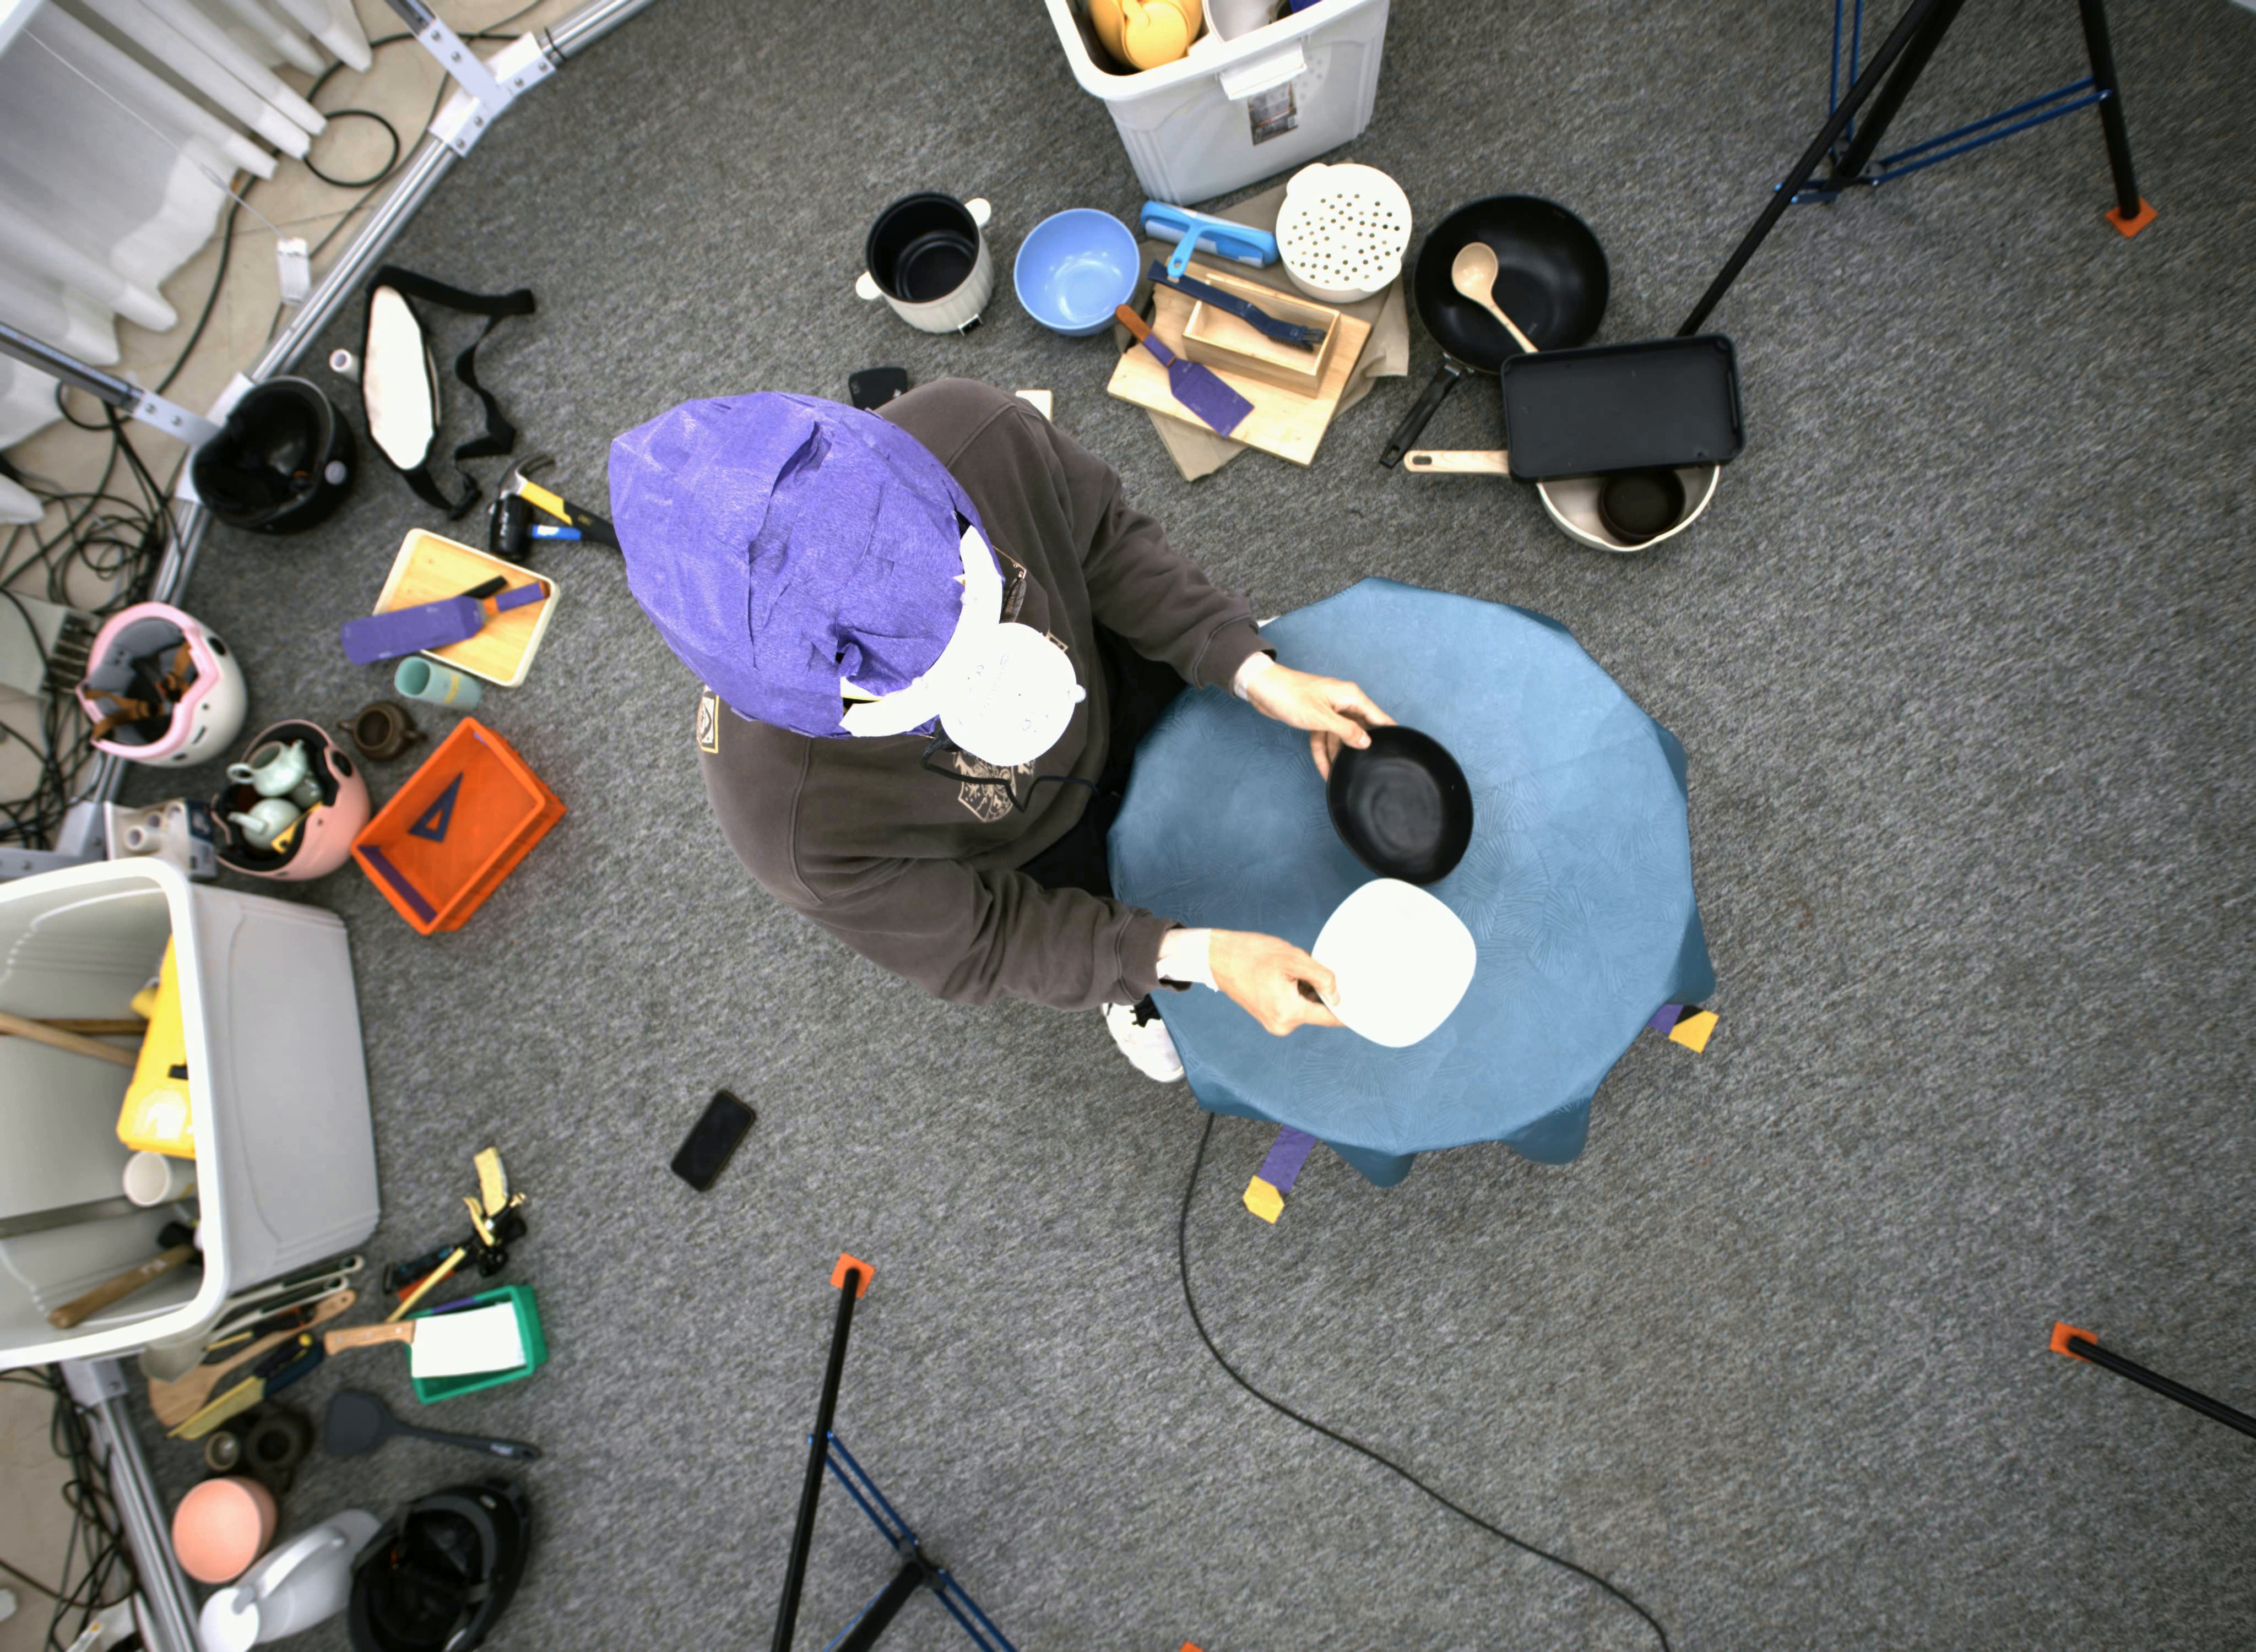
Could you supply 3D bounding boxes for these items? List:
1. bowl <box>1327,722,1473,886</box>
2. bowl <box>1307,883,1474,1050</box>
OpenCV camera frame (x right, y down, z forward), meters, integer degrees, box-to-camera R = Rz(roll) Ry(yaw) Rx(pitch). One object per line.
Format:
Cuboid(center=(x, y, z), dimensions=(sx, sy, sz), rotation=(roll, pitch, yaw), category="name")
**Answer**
Cuboid(center=(0.275, -0.023, 1.393), dimensions=(0.138, 0.066, 0.169), rotation=(-29, 85, 7), category="bowl")
Cuboid(center=(0.244, 0.130, 1.273), dimensions=(0.152, 0.059, 0.150), rotation=(-4, 79, 19), category="bowl")
